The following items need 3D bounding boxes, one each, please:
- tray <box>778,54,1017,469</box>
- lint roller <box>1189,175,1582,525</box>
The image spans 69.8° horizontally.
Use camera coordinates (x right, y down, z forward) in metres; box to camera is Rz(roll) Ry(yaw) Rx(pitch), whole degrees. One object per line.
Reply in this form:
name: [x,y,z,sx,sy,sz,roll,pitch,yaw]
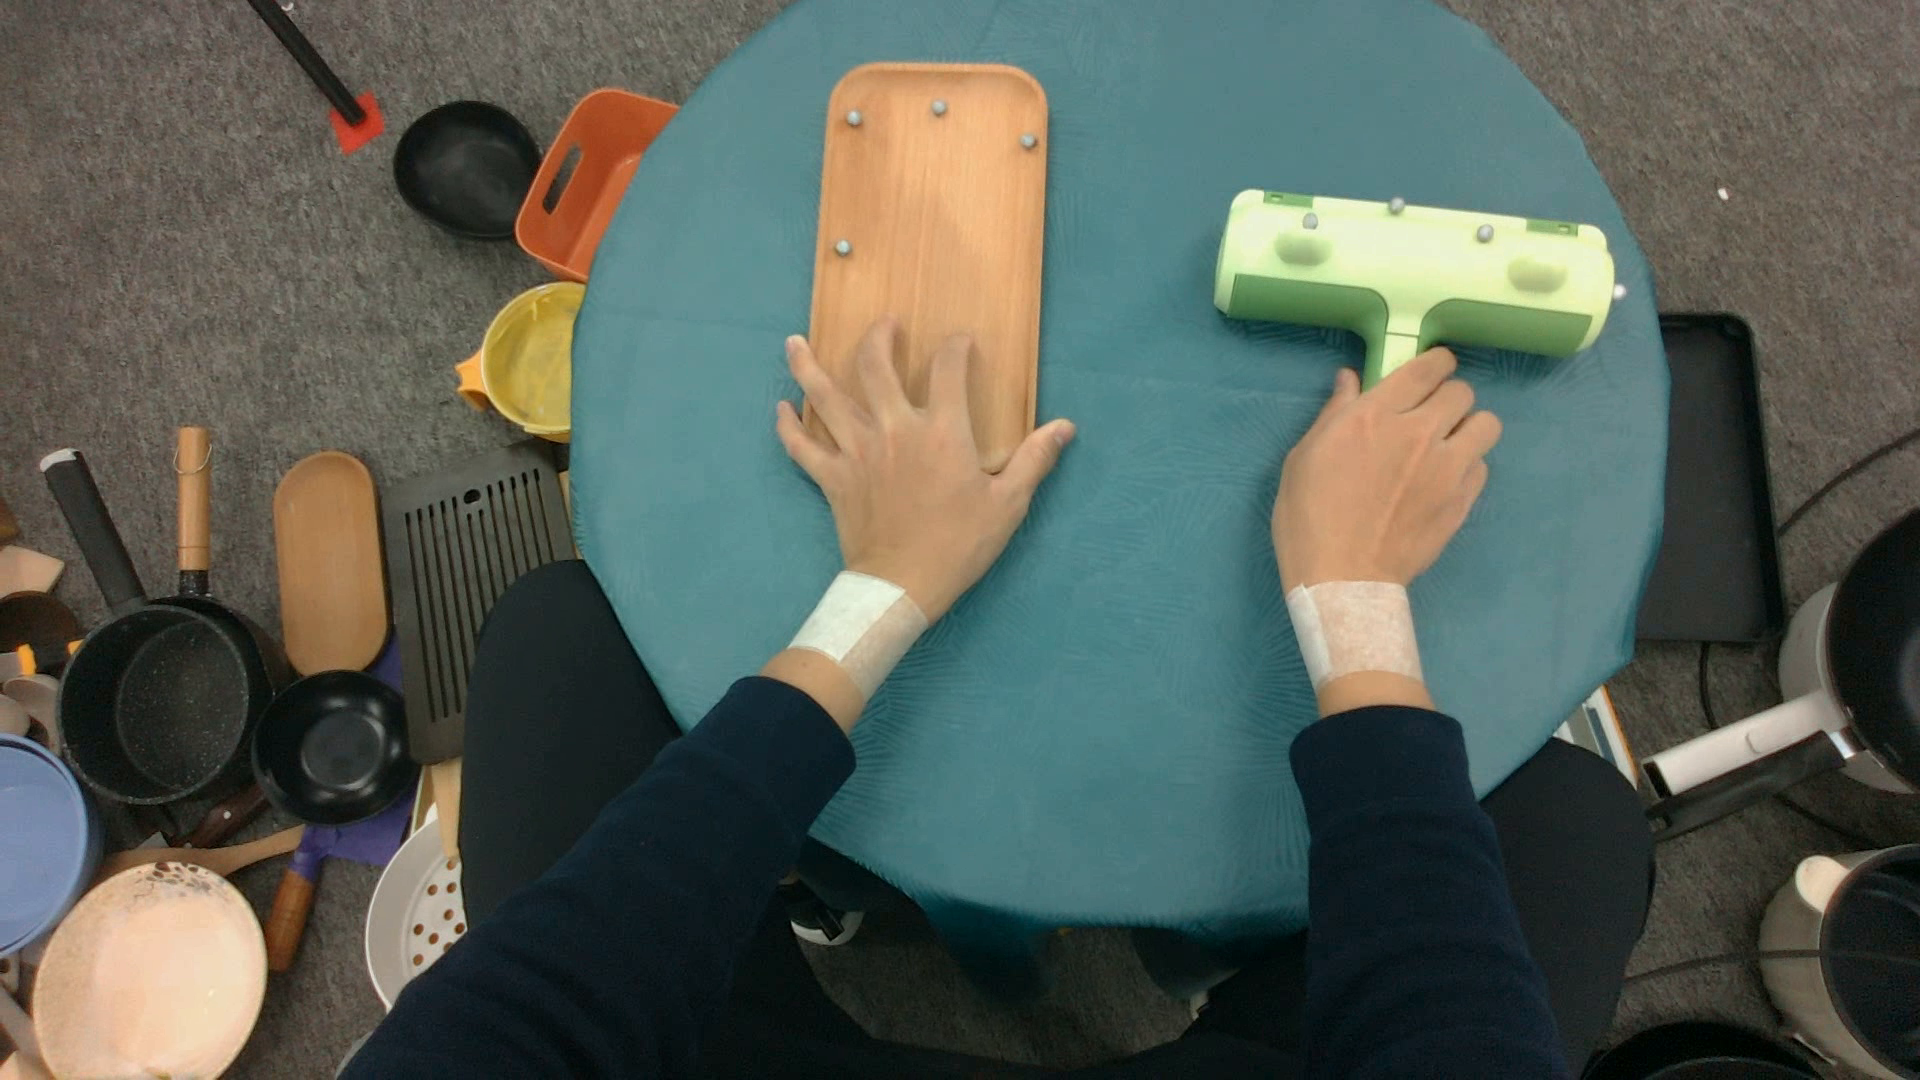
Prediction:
tray: [-0.032,-0.158,0.768,0.130,0.023,0.251,0,75,5]
lint roller: [0.214,-0.104,0.704,0.198,0.082,0.184,6,67,7]
